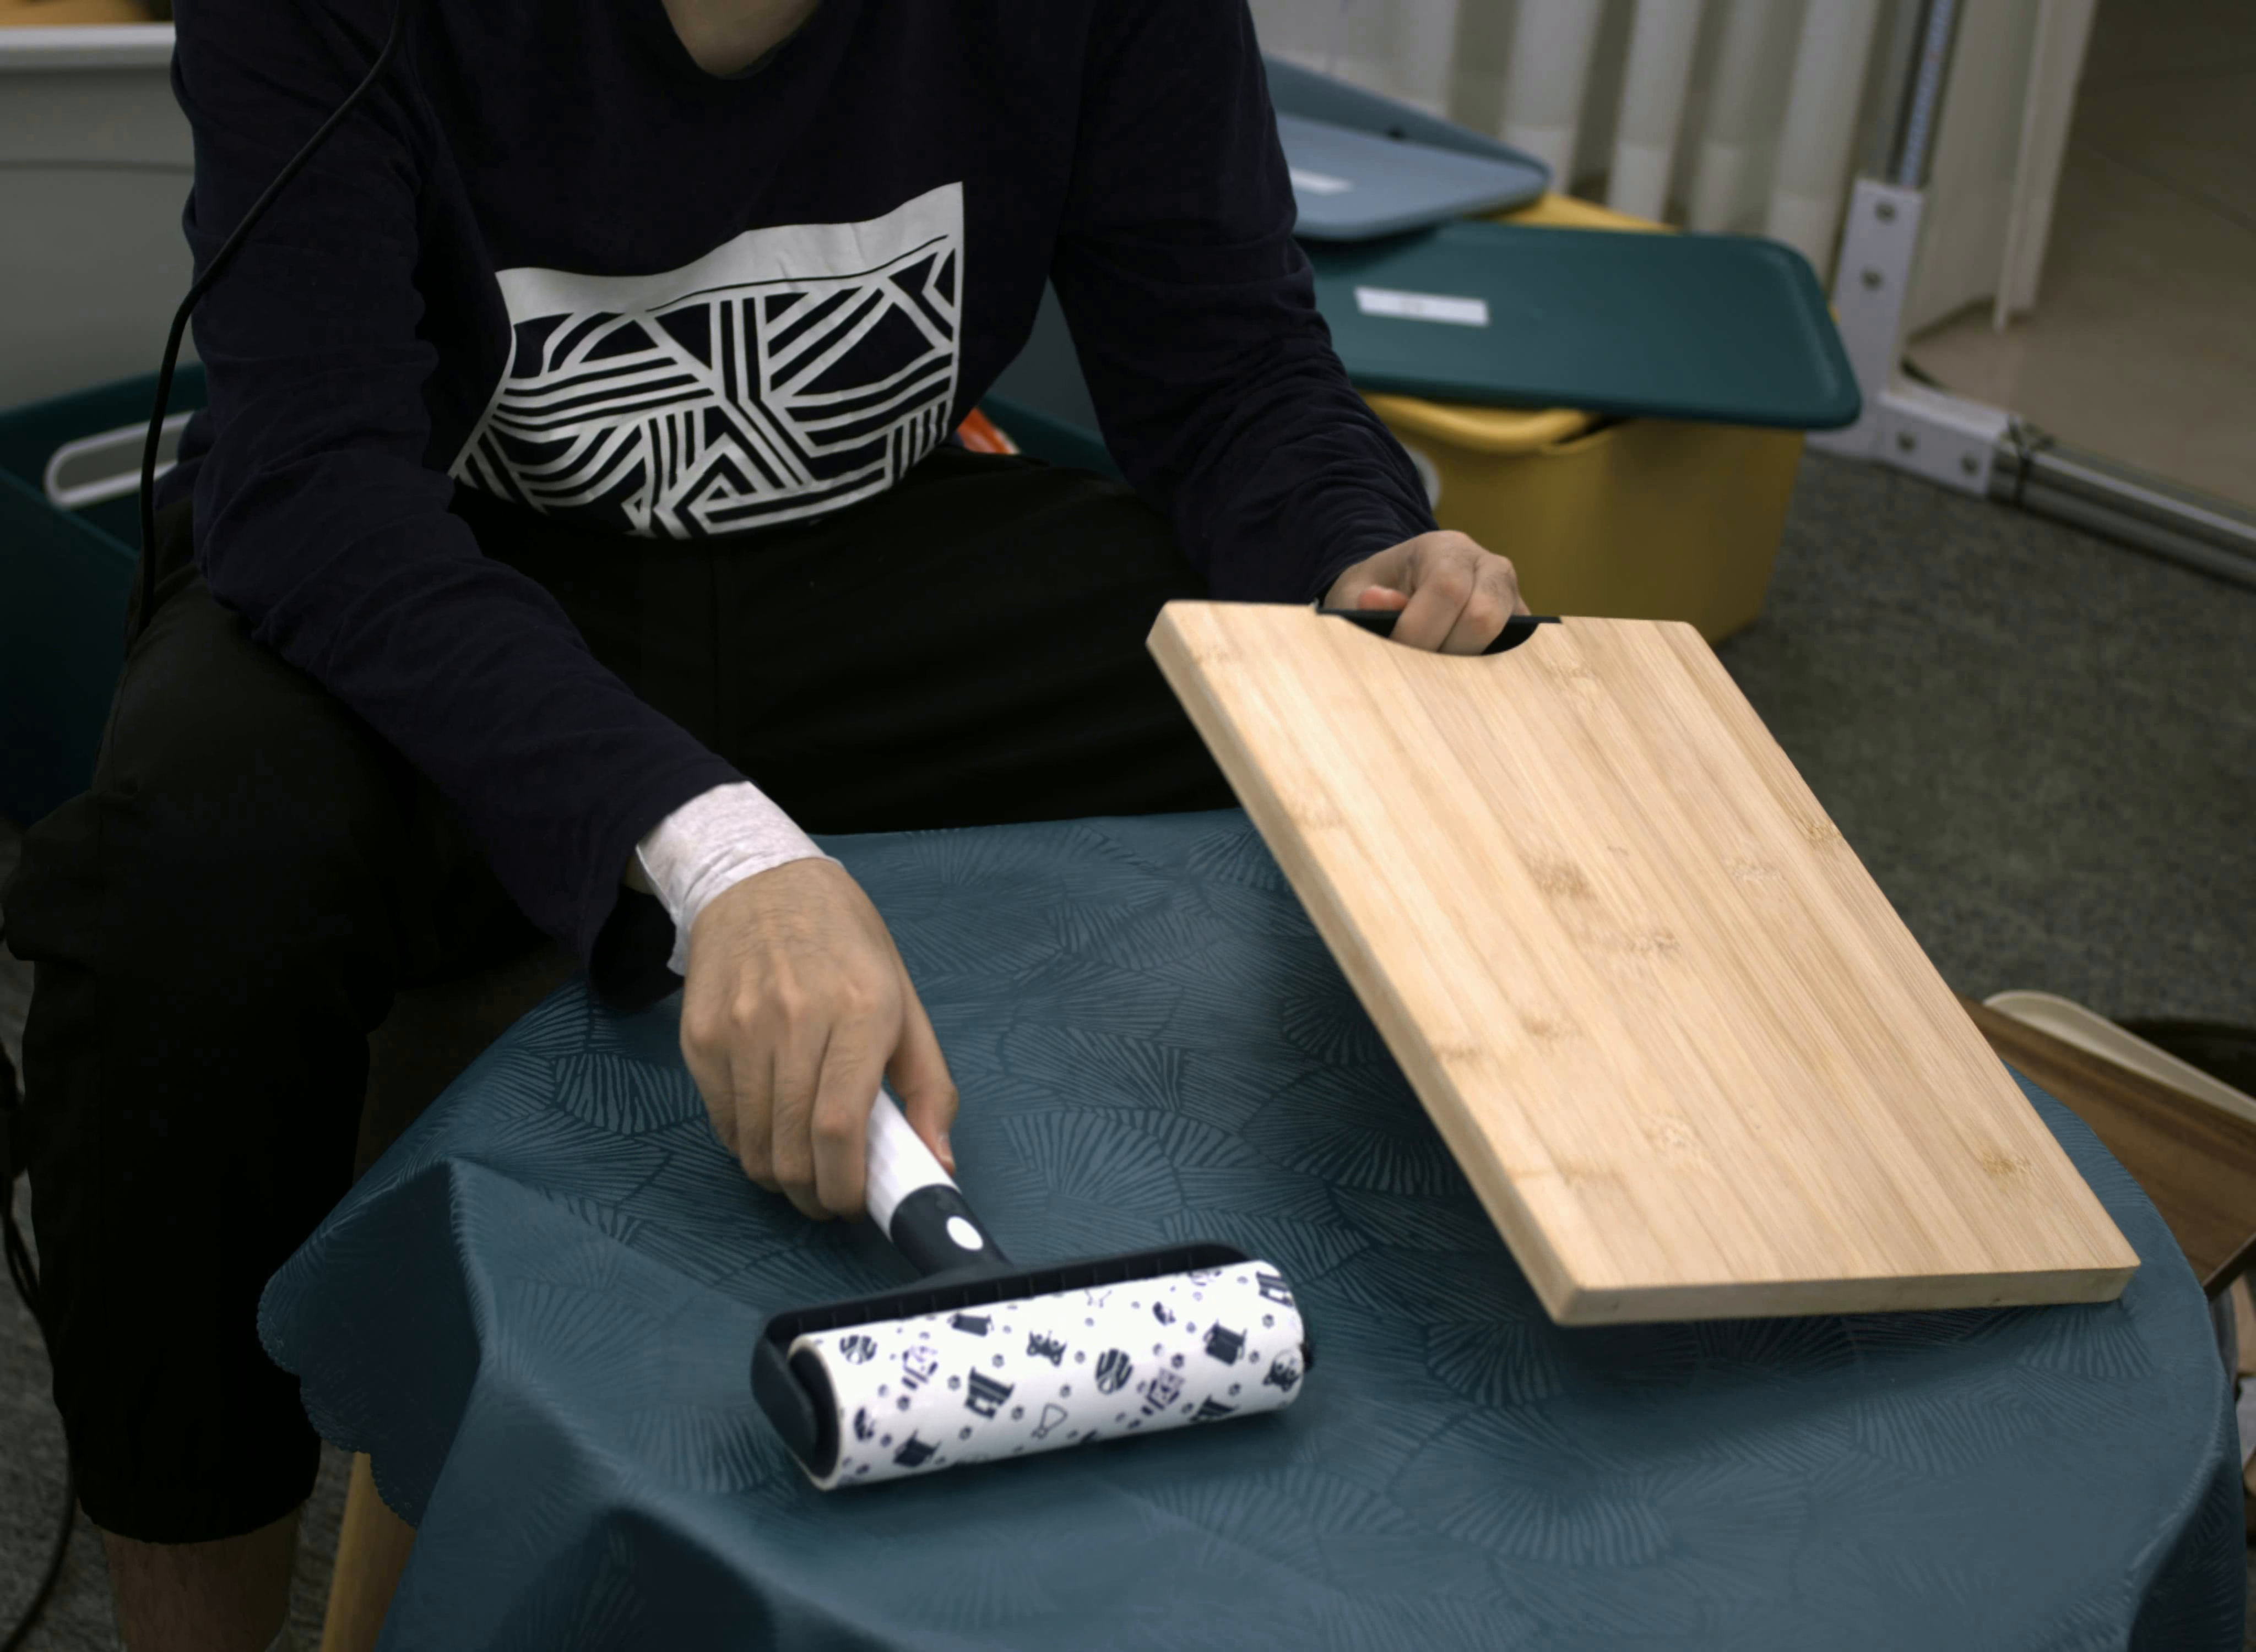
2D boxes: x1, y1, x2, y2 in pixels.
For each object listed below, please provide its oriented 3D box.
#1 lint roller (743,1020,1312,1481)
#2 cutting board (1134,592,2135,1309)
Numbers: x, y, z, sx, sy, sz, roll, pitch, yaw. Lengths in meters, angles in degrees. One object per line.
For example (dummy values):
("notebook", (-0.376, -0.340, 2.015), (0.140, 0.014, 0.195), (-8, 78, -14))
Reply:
("lint roller", (-0.071, 0.122, 1.735), (0.175, 0.050, 0.249), (-9, 31, -25))
("cutting board", (0.171, 0.039, 1.857), (0.249, 0.023, 0.352), (0, 41, -32))
